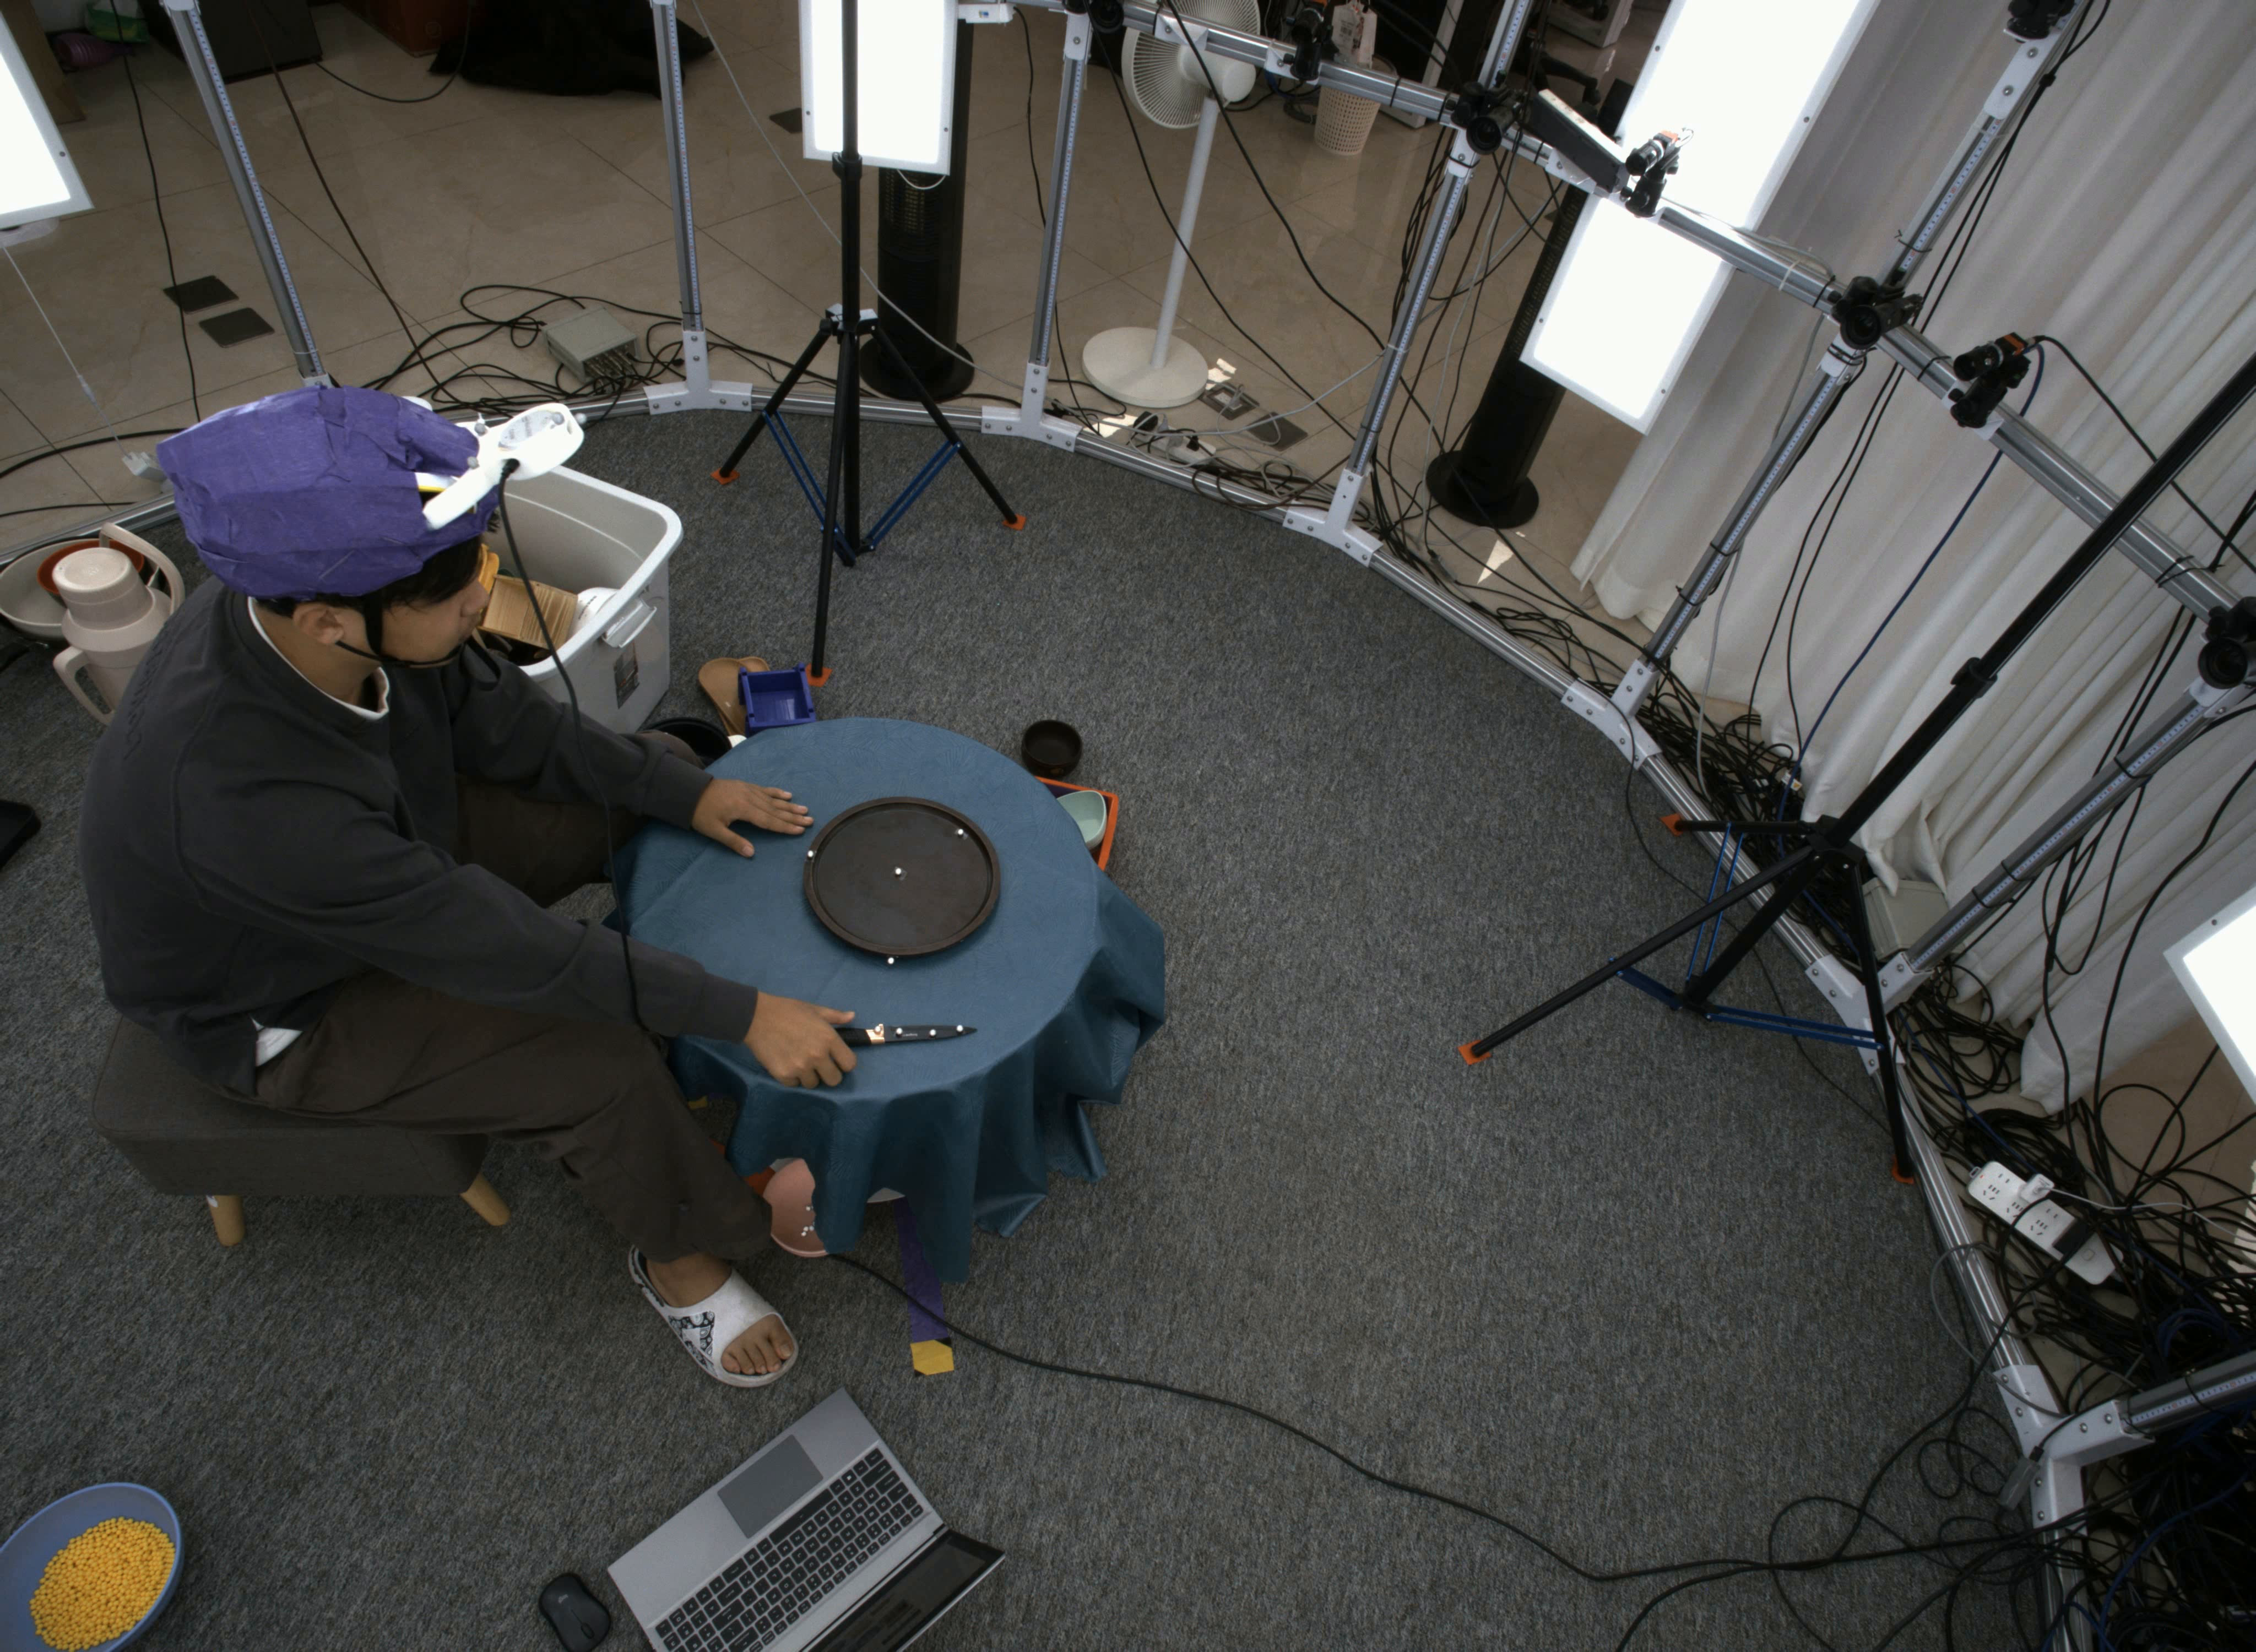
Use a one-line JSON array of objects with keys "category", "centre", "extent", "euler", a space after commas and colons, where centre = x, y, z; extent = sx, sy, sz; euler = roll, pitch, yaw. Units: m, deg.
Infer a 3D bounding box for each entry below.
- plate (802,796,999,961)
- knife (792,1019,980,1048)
[{"category": "plate", "centre": [-0.293, 0.065, 1.690], "extent": [0.254, 0.029, 0.250], "euler": [7, 54, -8]}, {"category": "knife", "centre": [-0.289, 0.246, 1.563], "extent": [0.226, 0.017, 0.025], "euler": [-2, 51, -16]}]
